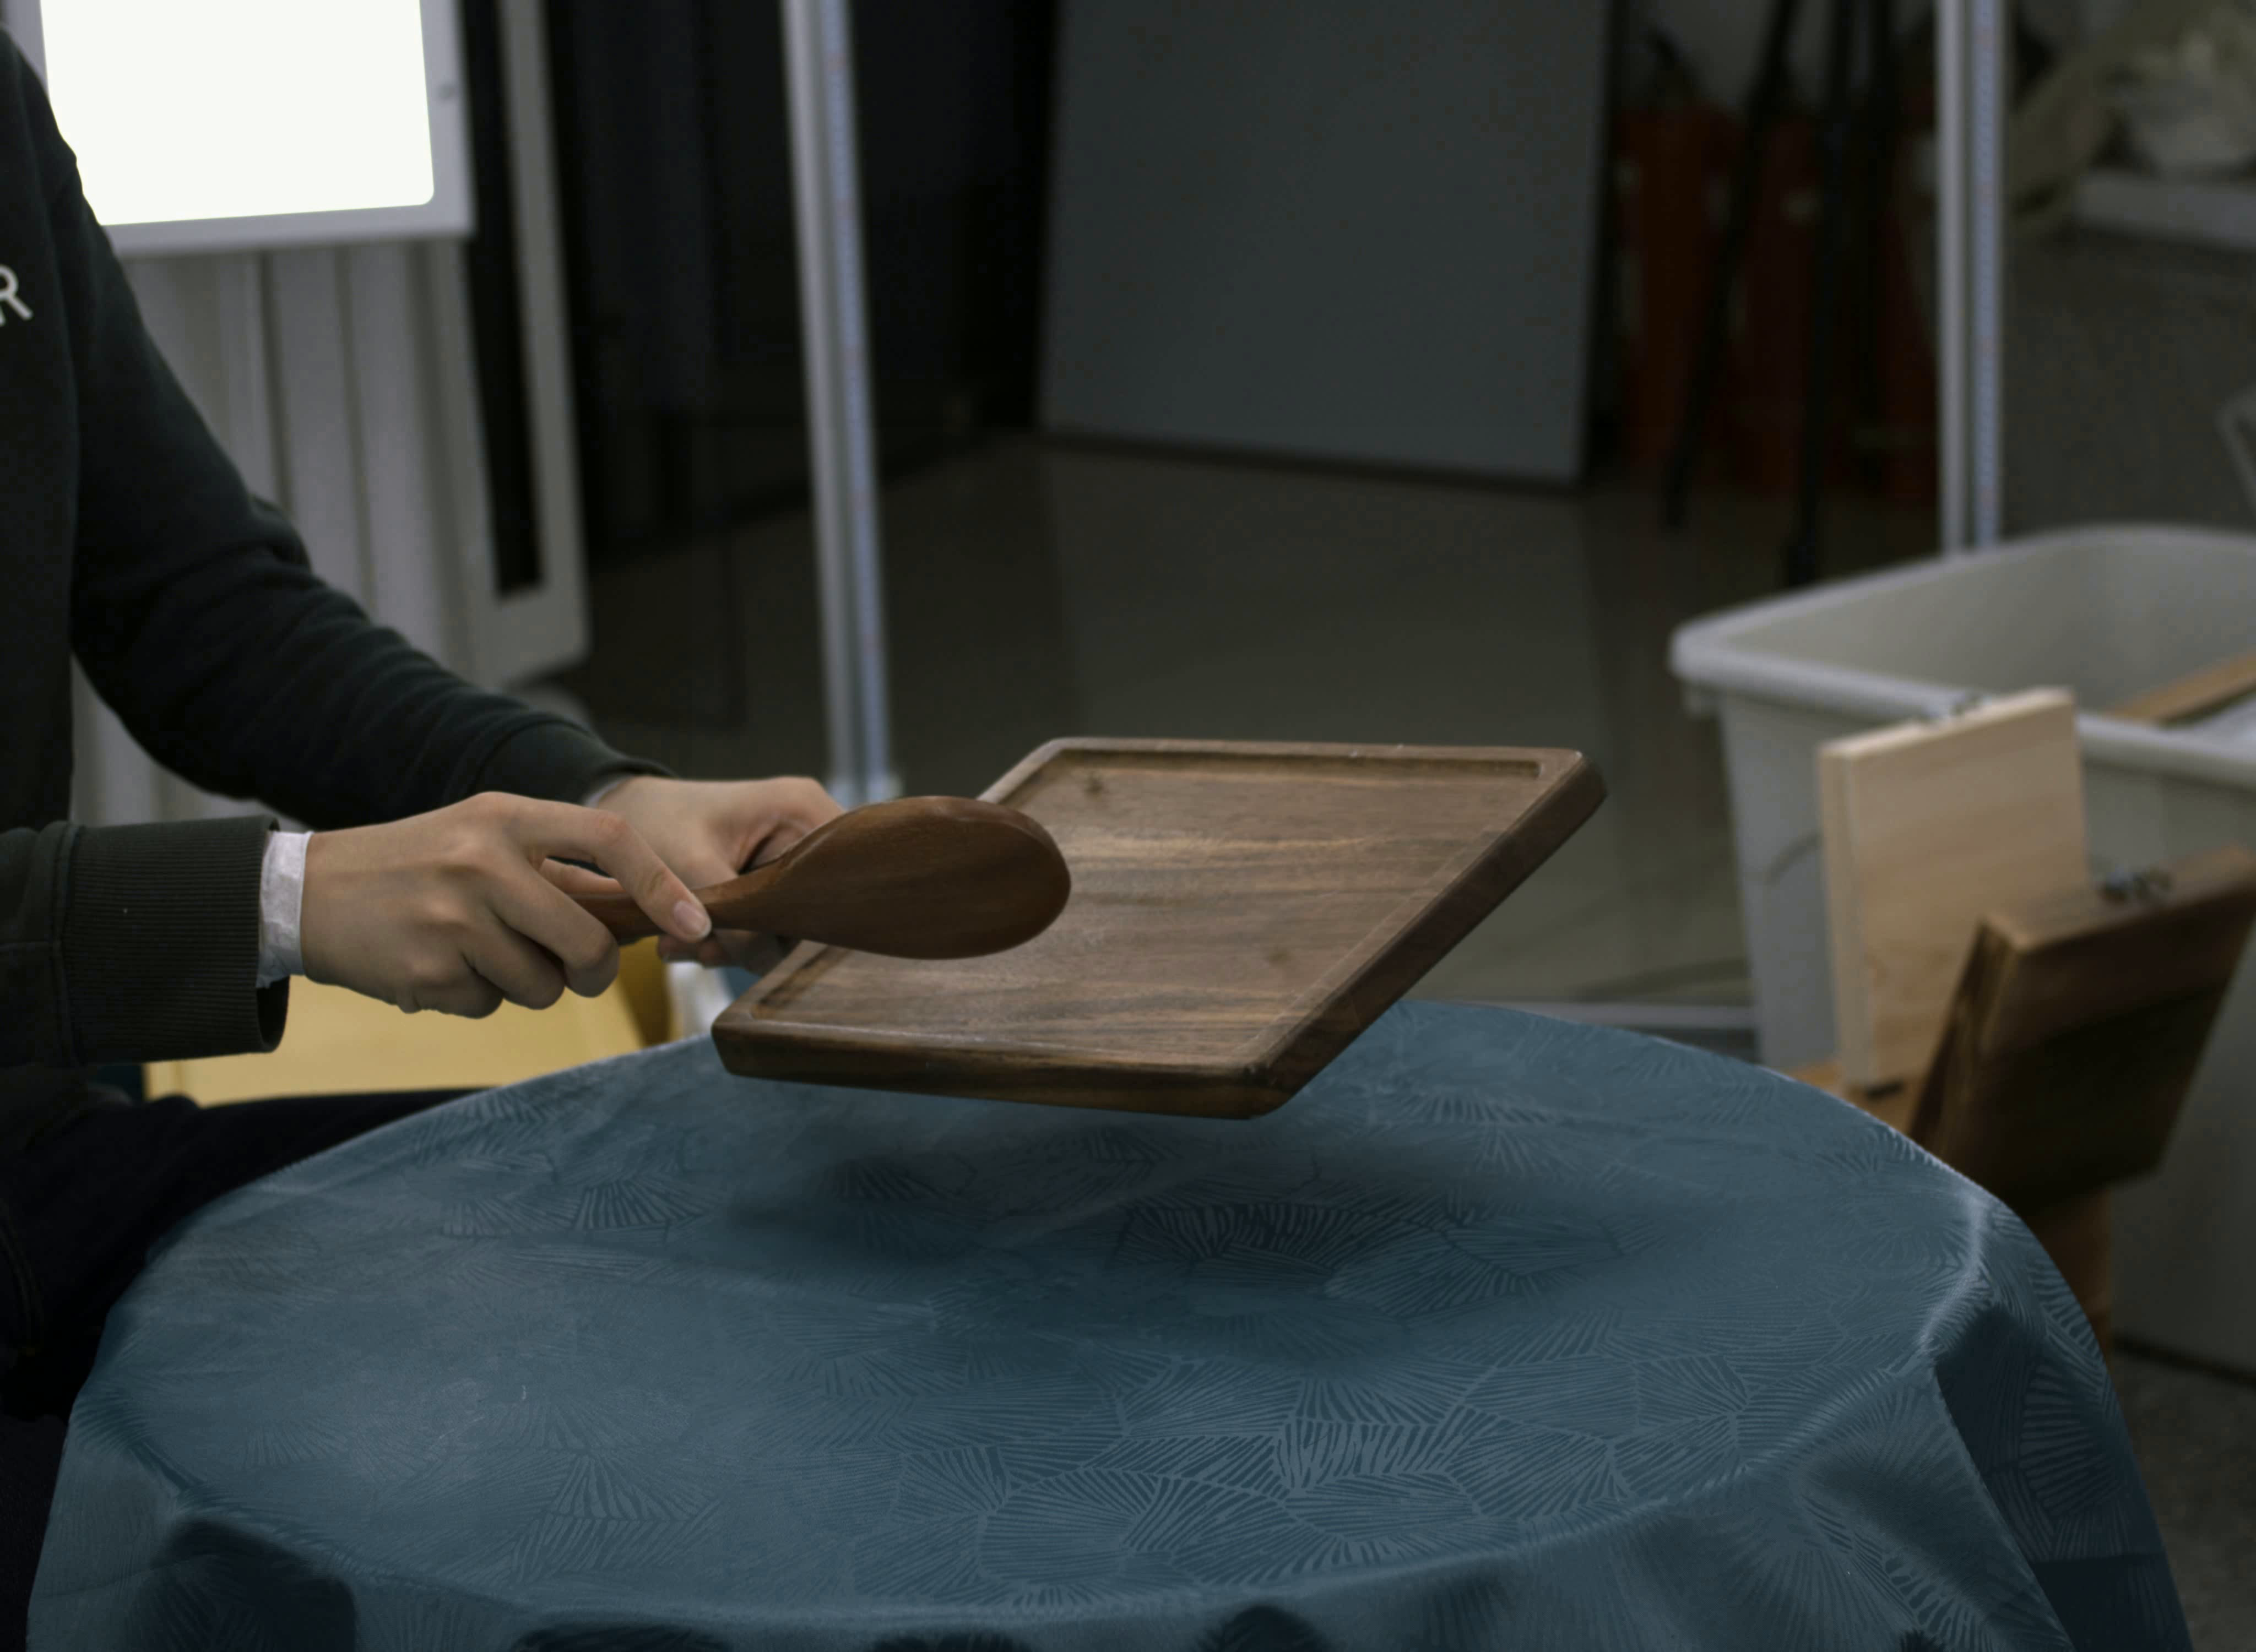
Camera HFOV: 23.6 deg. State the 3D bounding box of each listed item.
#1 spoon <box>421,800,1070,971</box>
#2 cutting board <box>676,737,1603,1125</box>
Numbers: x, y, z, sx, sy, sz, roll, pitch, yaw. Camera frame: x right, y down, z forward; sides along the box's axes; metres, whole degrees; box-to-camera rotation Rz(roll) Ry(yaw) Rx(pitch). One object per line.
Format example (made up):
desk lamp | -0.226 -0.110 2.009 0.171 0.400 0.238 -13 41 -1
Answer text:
spoon | -0.122 0.025 1.702 0.215 0.075 0.017 -6 51 17
cutting board | -0.027 0.029 1.798 0.355 0.023 0.199 1 33 45
